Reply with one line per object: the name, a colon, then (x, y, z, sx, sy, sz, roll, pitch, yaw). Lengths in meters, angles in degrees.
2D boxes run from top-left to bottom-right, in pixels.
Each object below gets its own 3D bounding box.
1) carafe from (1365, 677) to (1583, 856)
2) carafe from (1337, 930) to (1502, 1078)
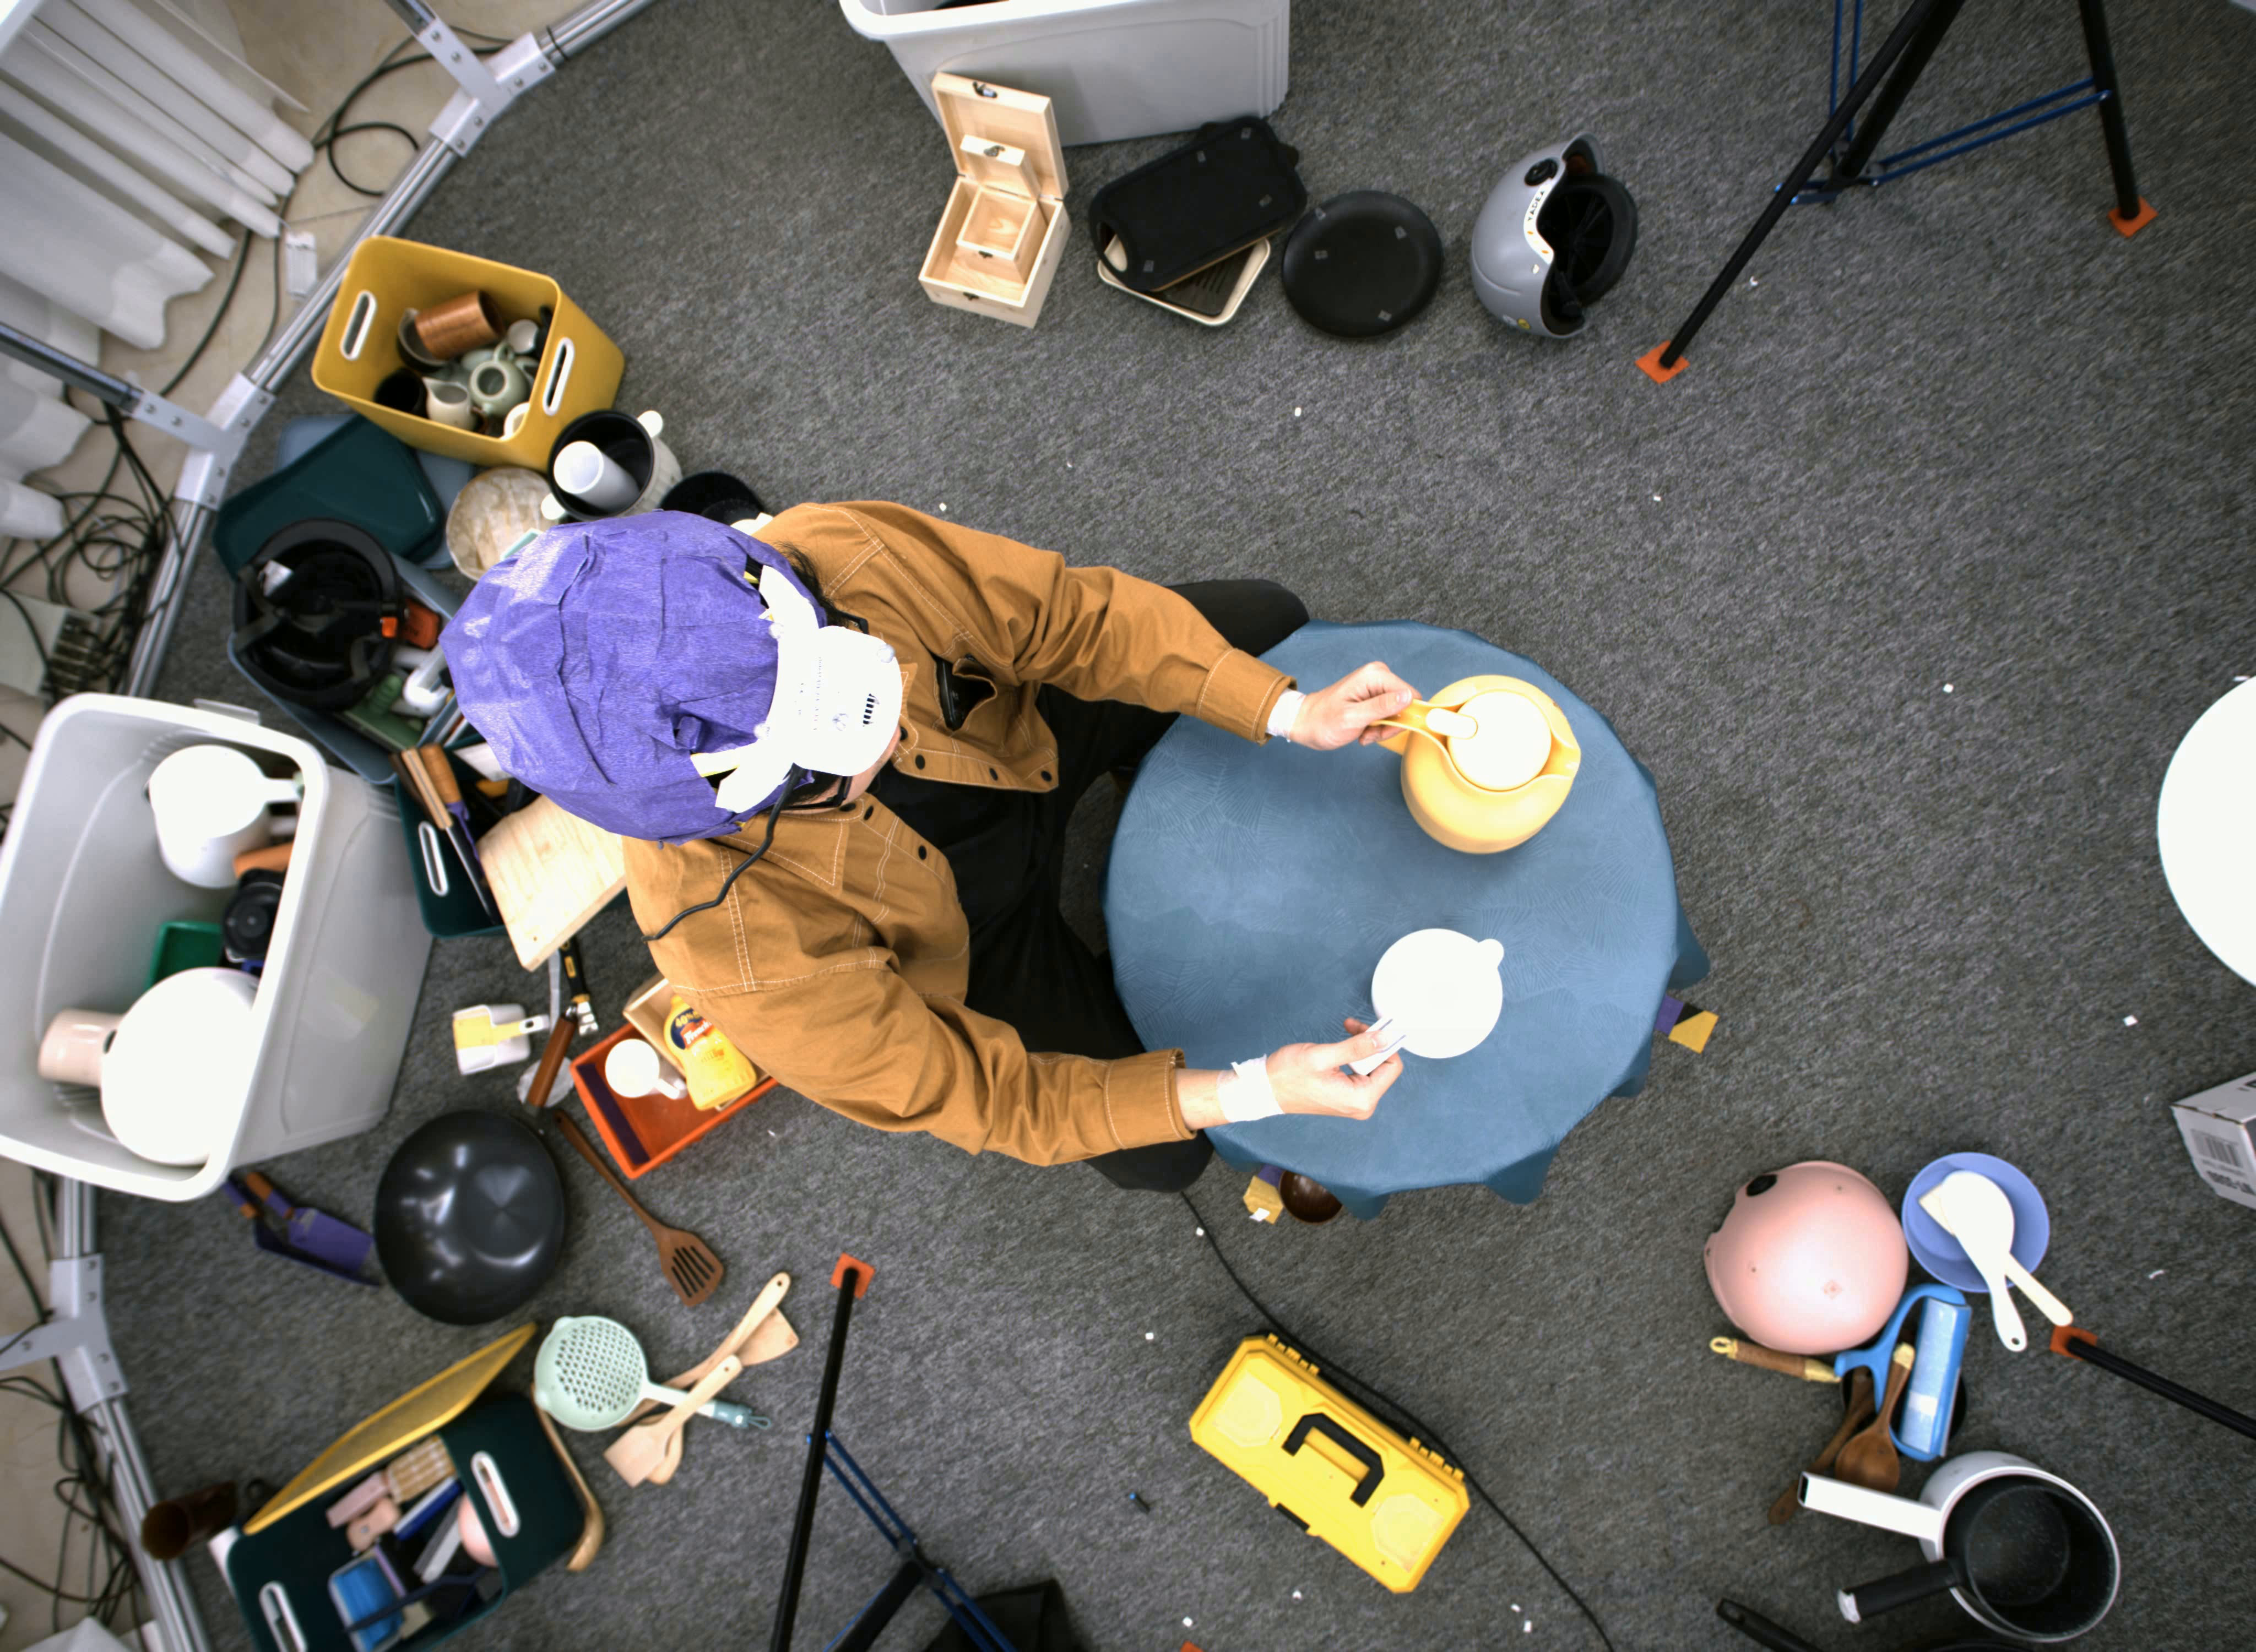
carafe: (0.328, -0.071, 1.323, 0.202, 0.261, 0.163, 22, 86, 10)
carafe: (0.277, 0.171, 1.319, 0.173, 0.269, 0.123, -40, 81, 4)
